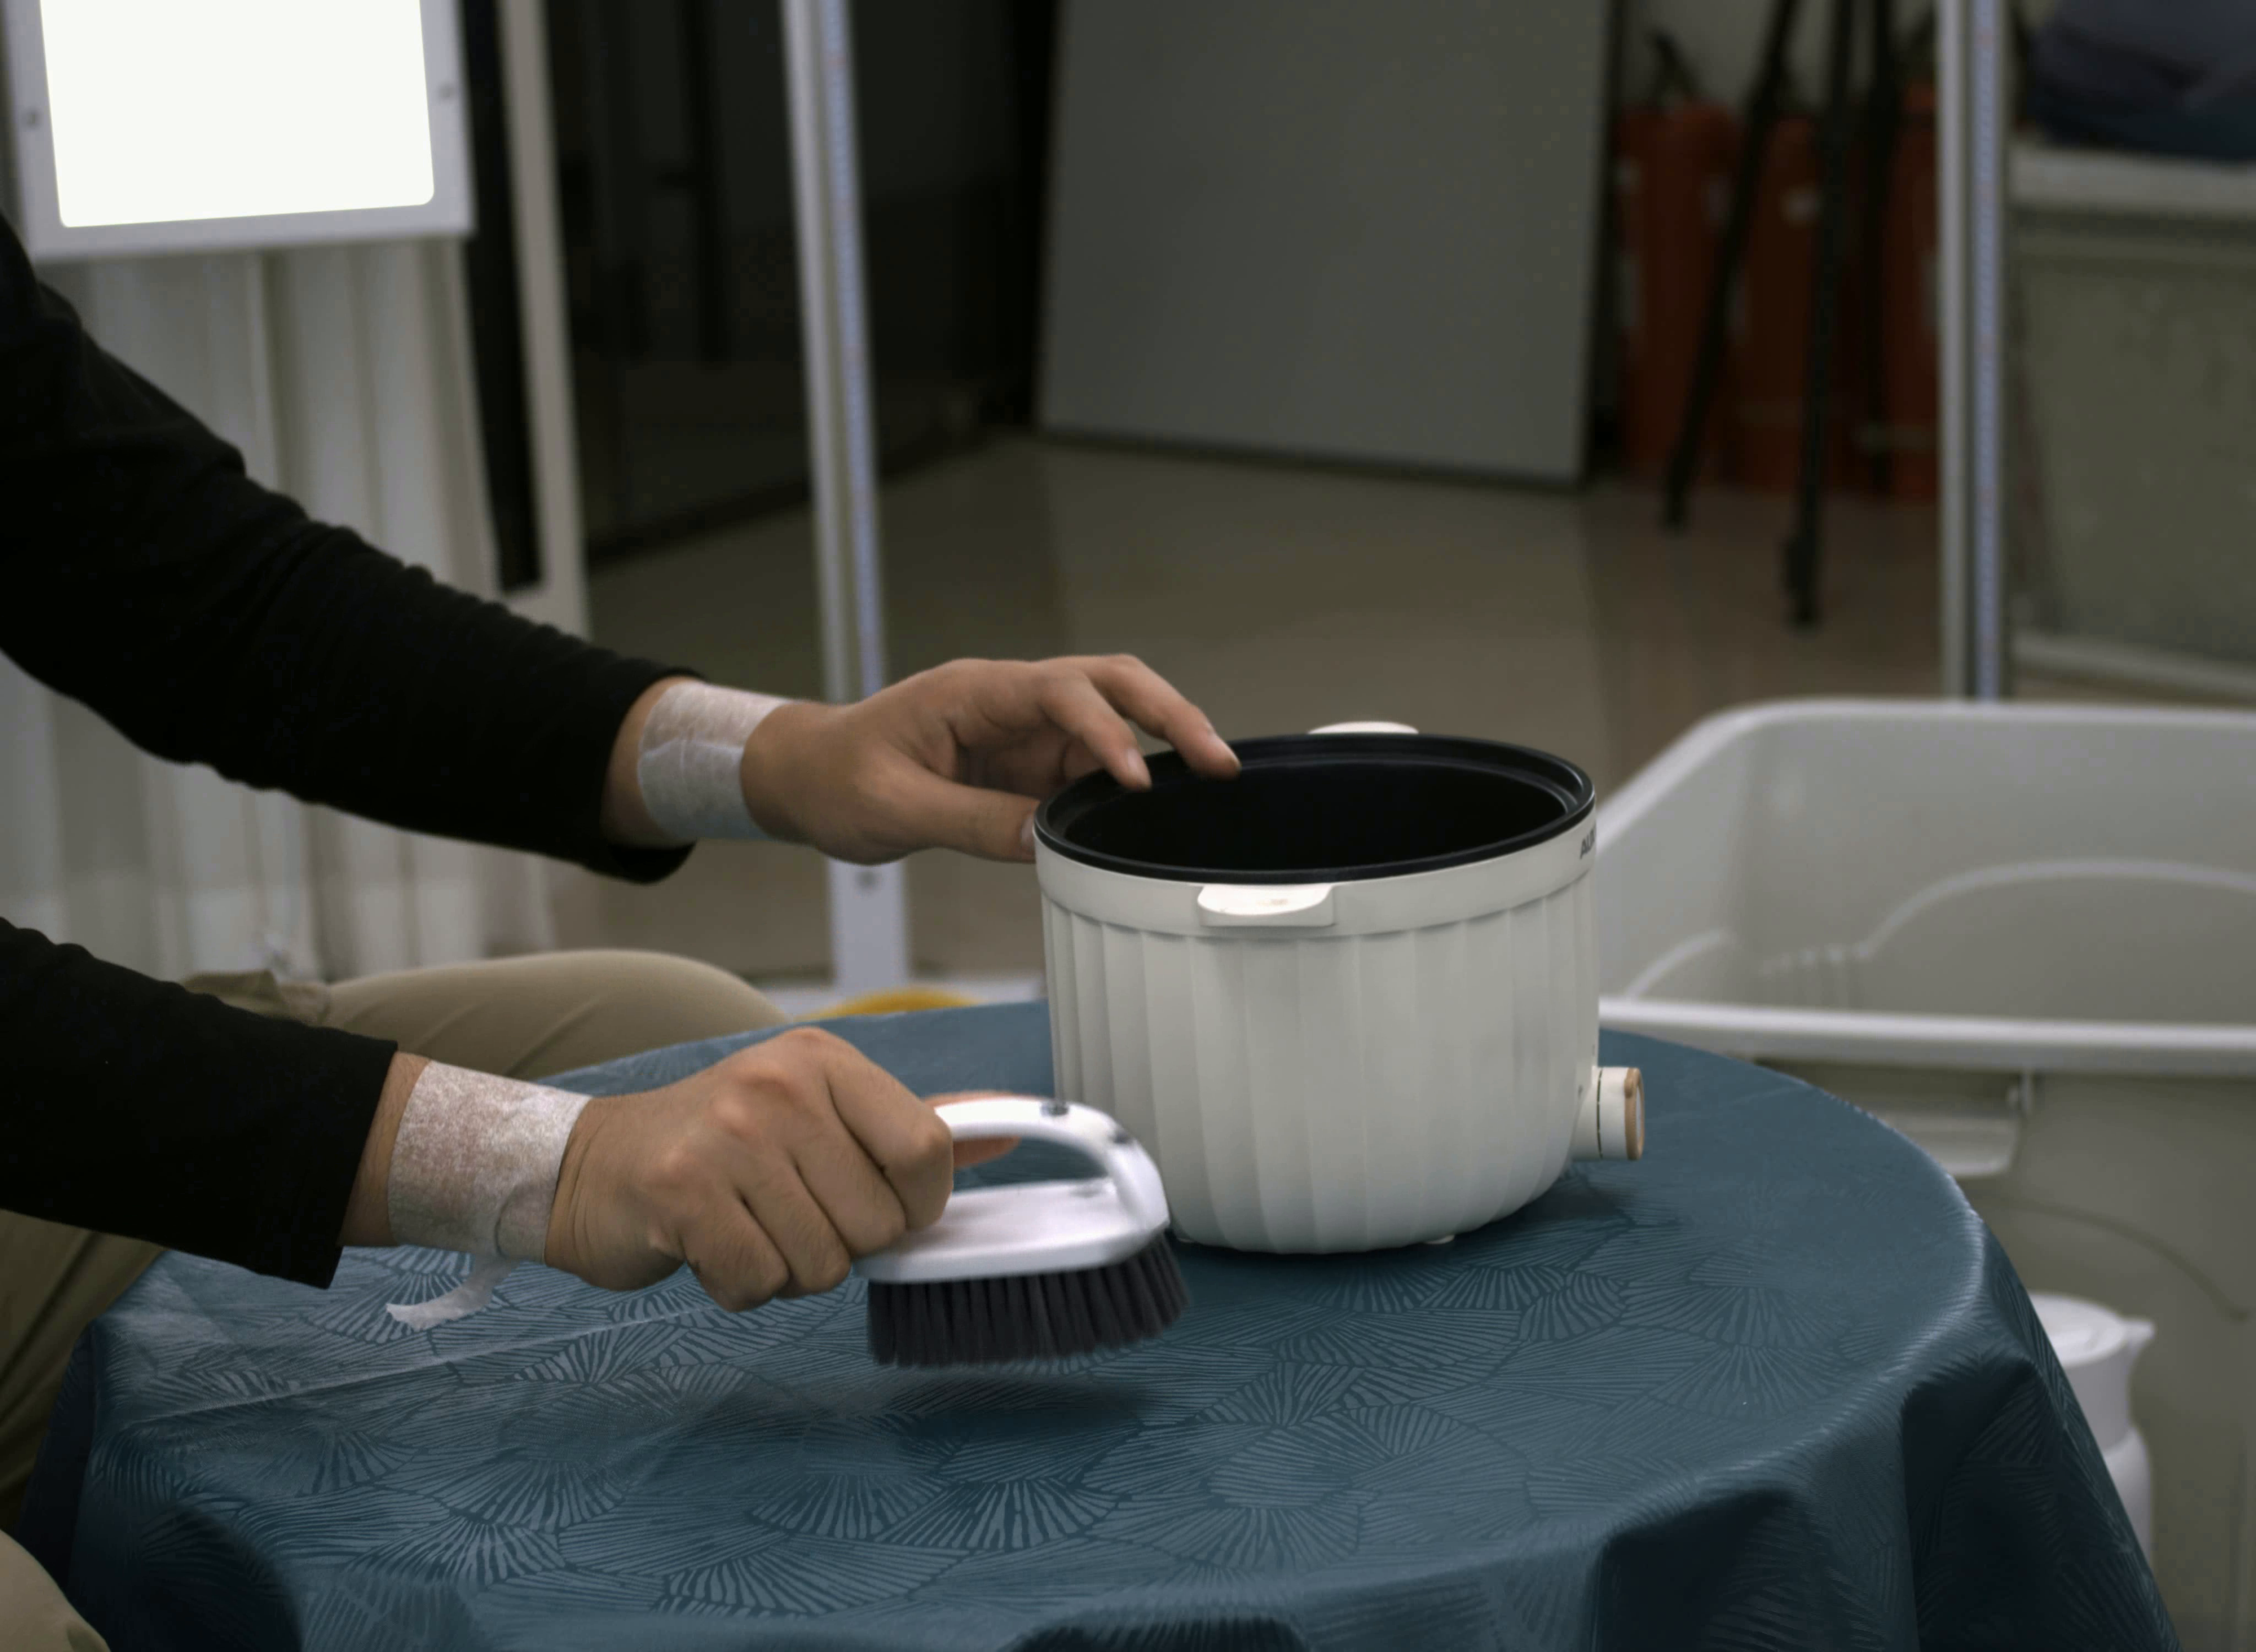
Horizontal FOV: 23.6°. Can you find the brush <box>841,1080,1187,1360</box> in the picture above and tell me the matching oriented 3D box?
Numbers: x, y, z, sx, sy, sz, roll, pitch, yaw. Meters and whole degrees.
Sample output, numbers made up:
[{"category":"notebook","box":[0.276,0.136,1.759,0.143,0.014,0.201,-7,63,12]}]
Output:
[{"category":"brush","box":[-0.037,0.110,1.573,0.099,0.073,0.050,-8,19,21]}]

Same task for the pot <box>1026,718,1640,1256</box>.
[{"category":"pot","box":[0.067,0.054,1.732,0.189,0.144,0.239,-4,15,12]}]
